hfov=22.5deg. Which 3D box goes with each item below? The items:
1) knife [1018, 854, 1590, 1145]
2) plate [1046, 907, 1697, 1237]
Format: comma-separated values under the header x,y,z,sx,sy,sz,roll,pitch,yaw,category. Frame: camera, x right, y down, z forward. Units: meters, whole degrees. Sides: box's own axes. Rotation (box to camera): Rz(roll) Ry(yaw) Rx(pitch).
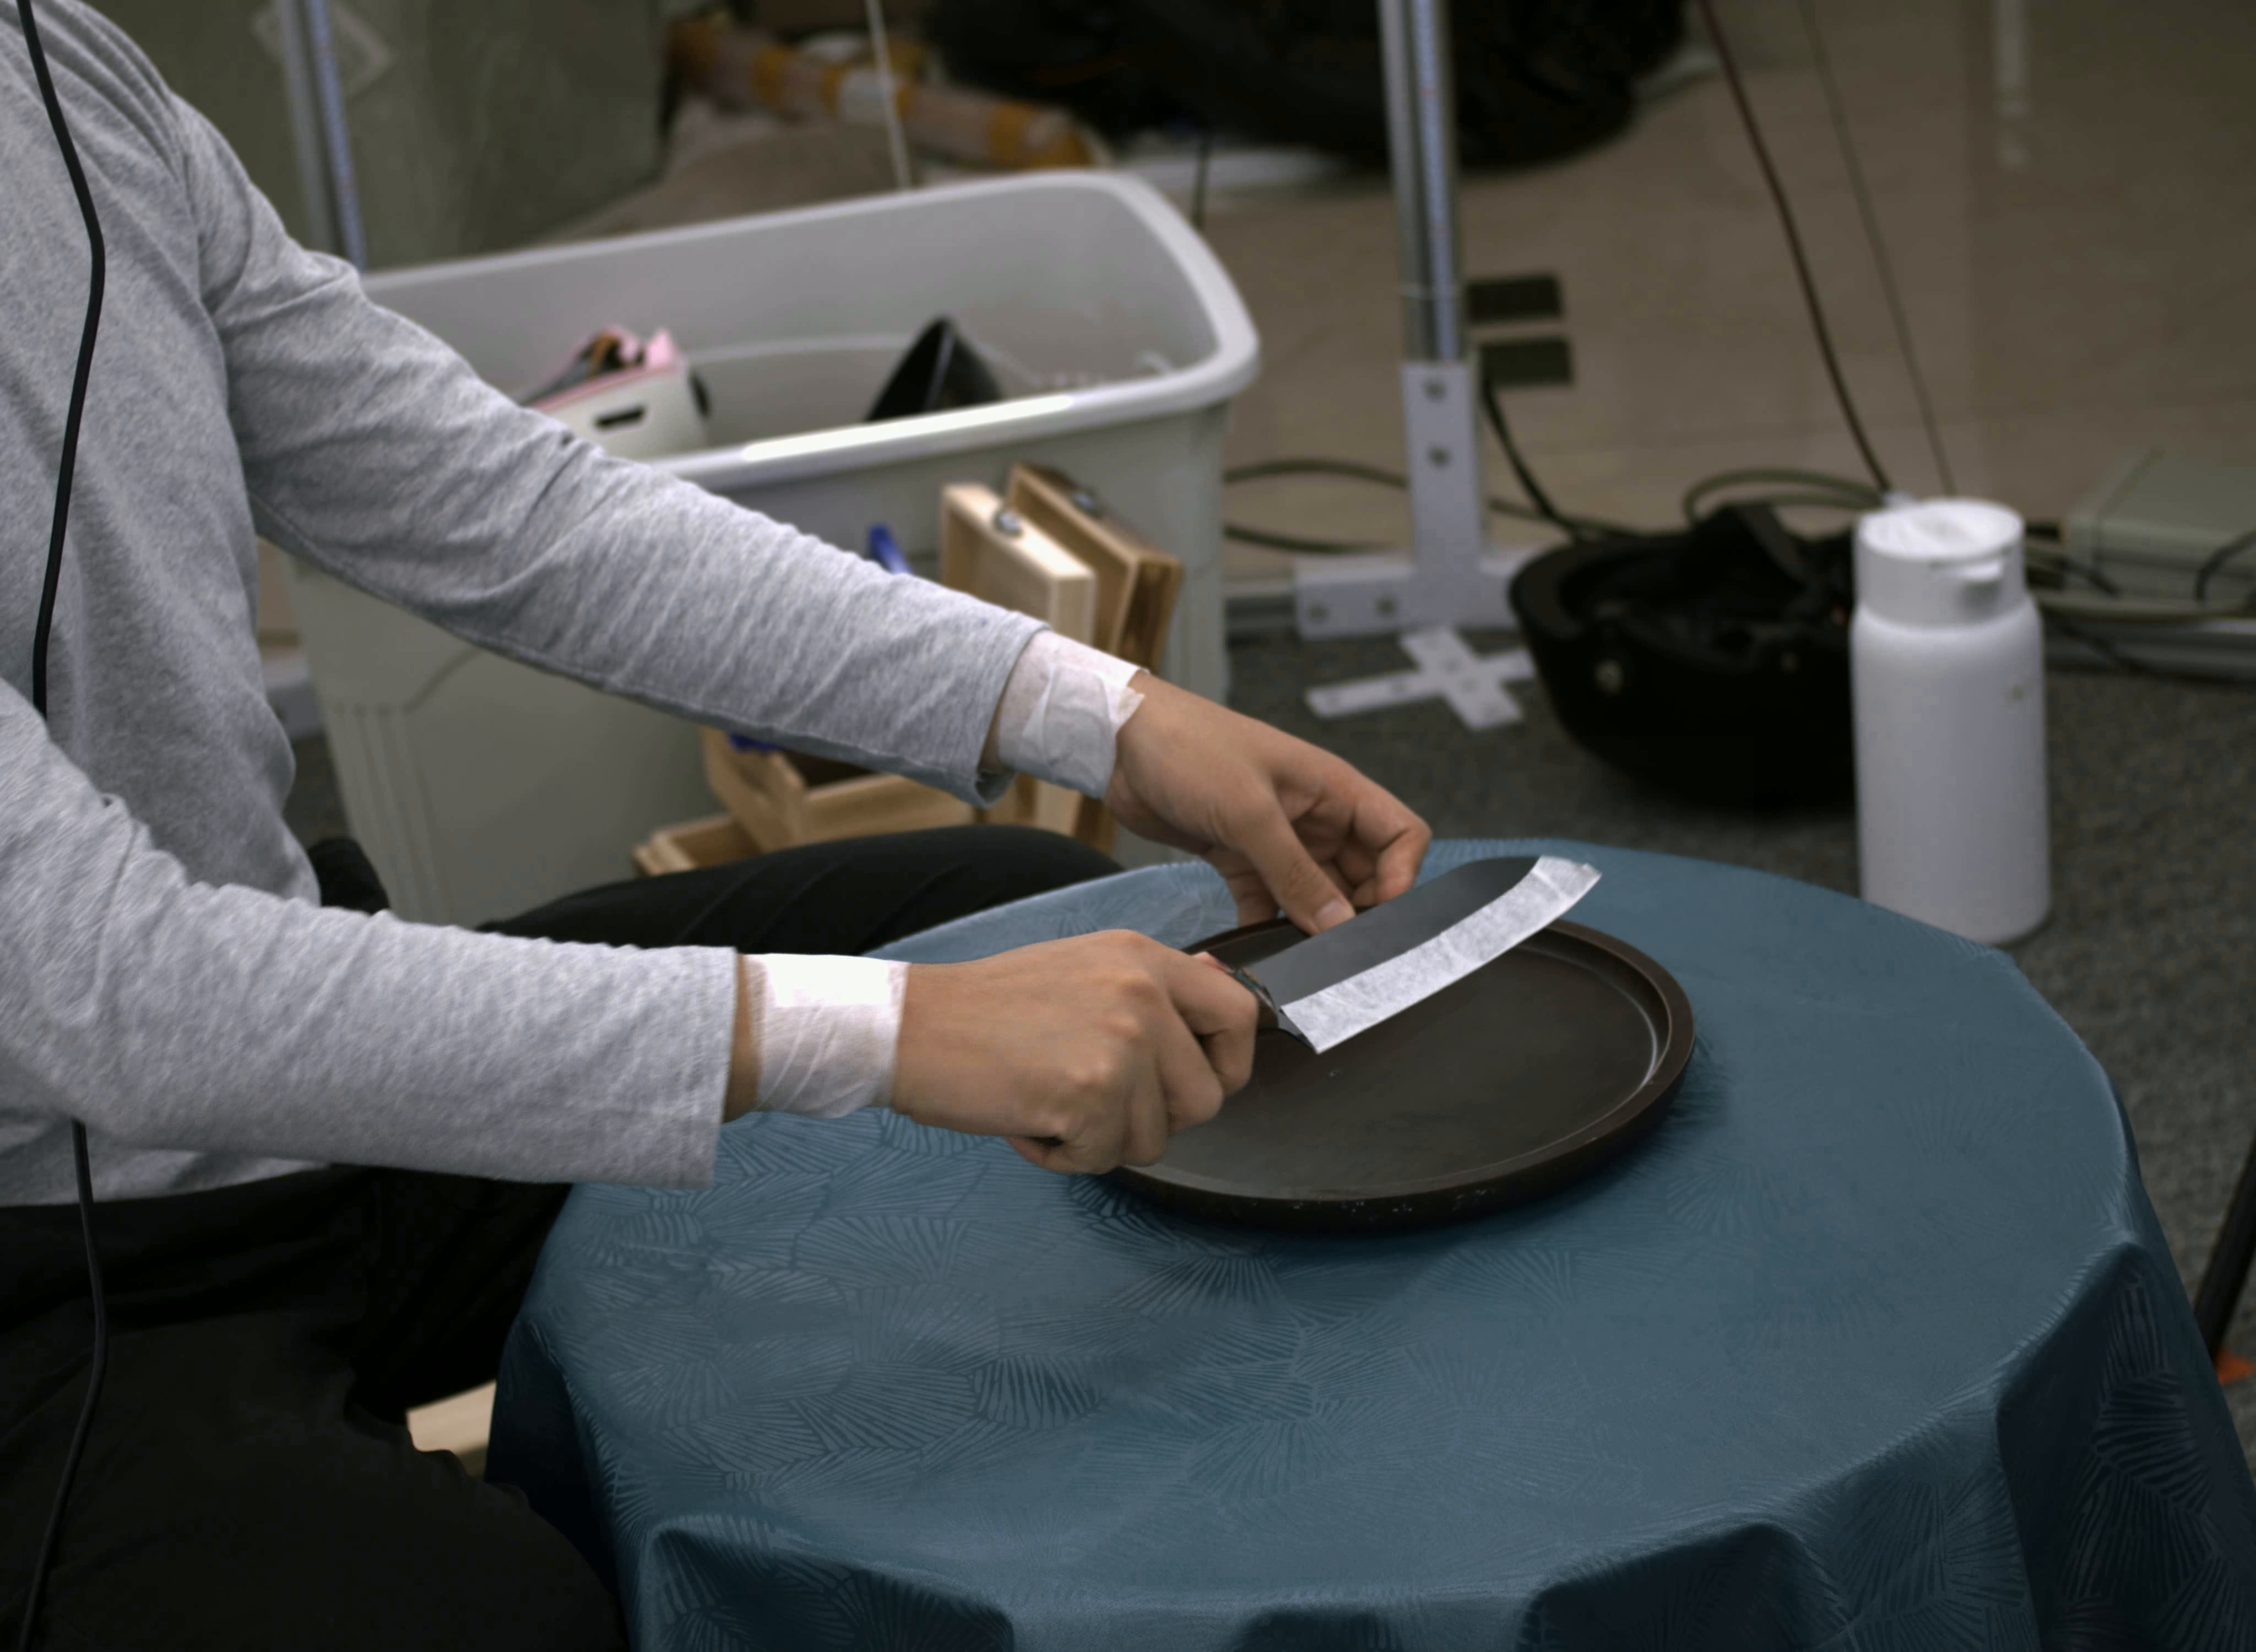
x,y,z,sx,sy,sz,roll,pitch,yaw,category
0.070,0.061,2.086,0.287,0.020,0.050,-22,61,-38,knife
0.094,0.093,2.198,0.254,0.029,0.251,-7,26,3,plate
